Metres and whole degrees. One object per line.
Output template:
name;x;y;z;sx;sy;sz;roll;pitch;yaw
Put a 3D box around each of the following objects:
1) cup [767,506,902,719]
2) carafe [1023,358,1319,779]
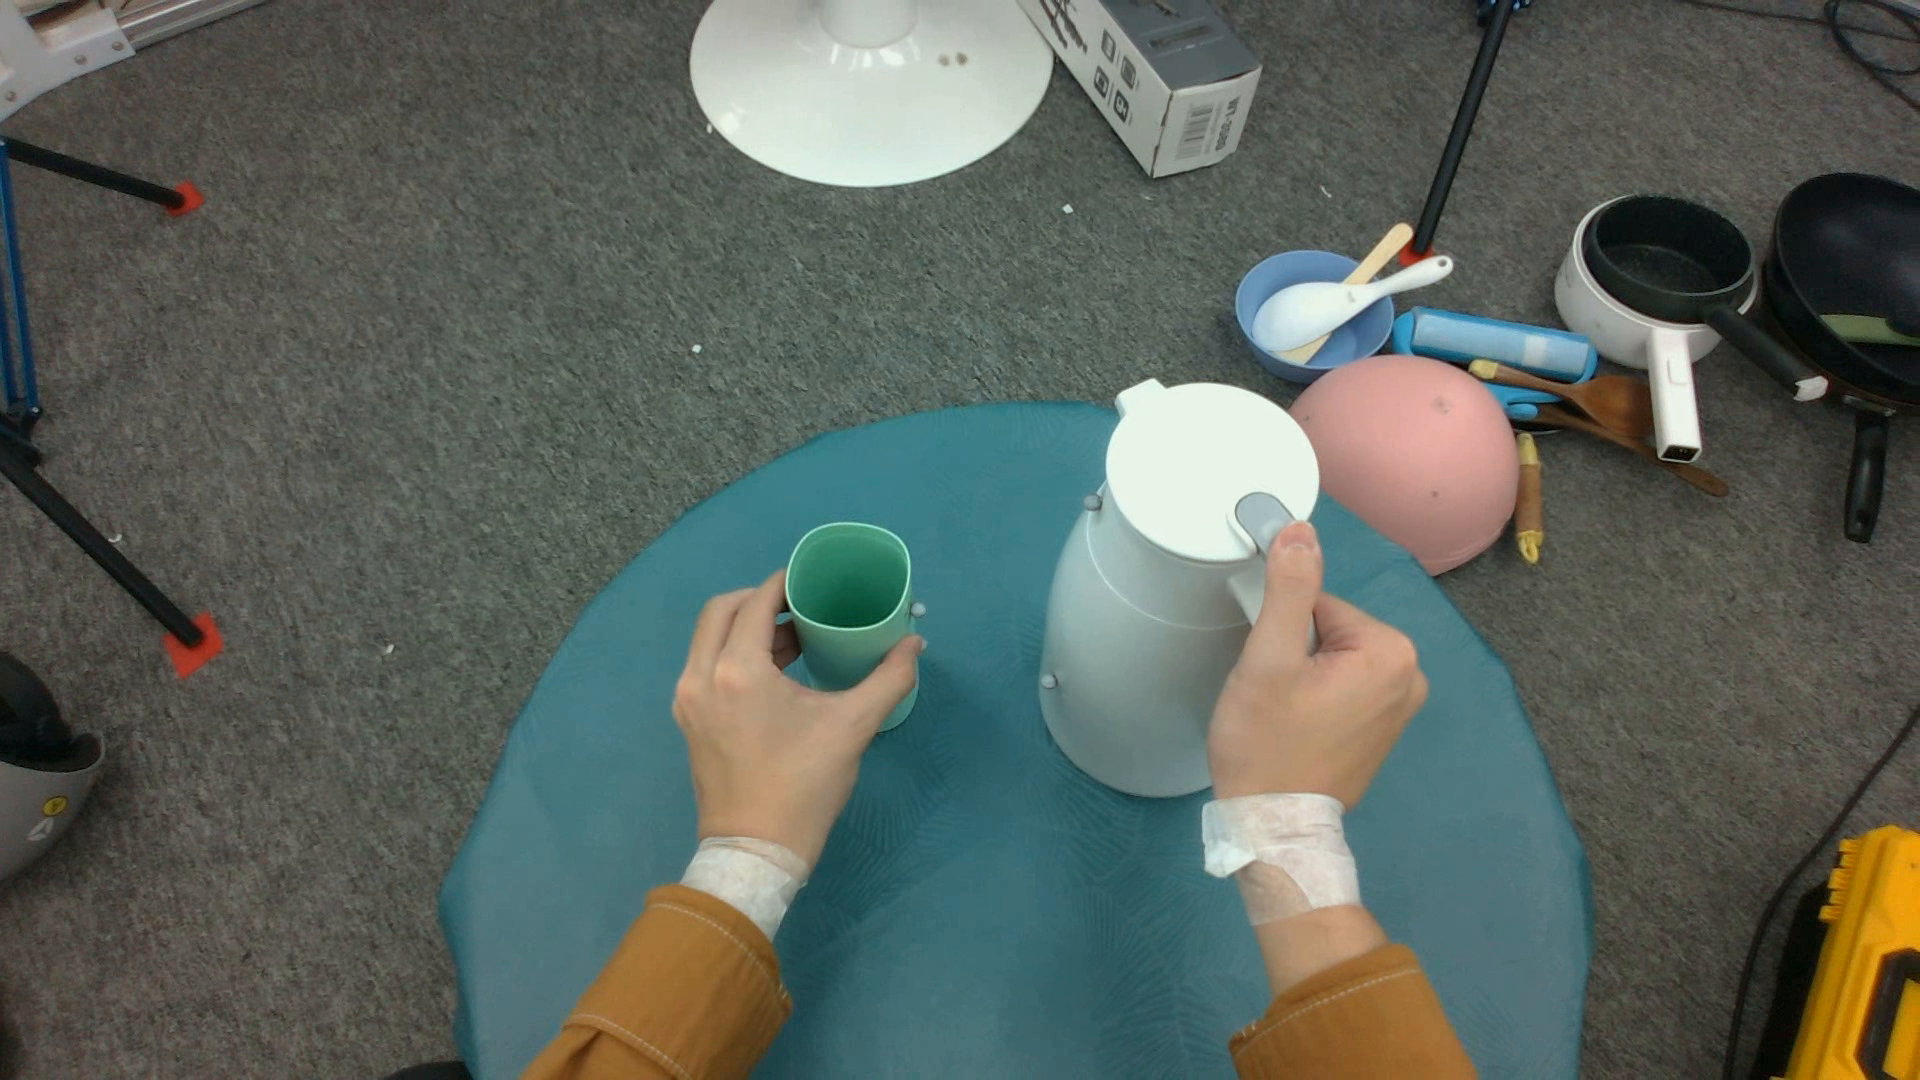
cup;-0.065;0.044;0.748;0.067;0.132;0.067;0;59;0
carafe;0.112;0.030;0.687;0.133;0.247;0.168;-26;64;-15
